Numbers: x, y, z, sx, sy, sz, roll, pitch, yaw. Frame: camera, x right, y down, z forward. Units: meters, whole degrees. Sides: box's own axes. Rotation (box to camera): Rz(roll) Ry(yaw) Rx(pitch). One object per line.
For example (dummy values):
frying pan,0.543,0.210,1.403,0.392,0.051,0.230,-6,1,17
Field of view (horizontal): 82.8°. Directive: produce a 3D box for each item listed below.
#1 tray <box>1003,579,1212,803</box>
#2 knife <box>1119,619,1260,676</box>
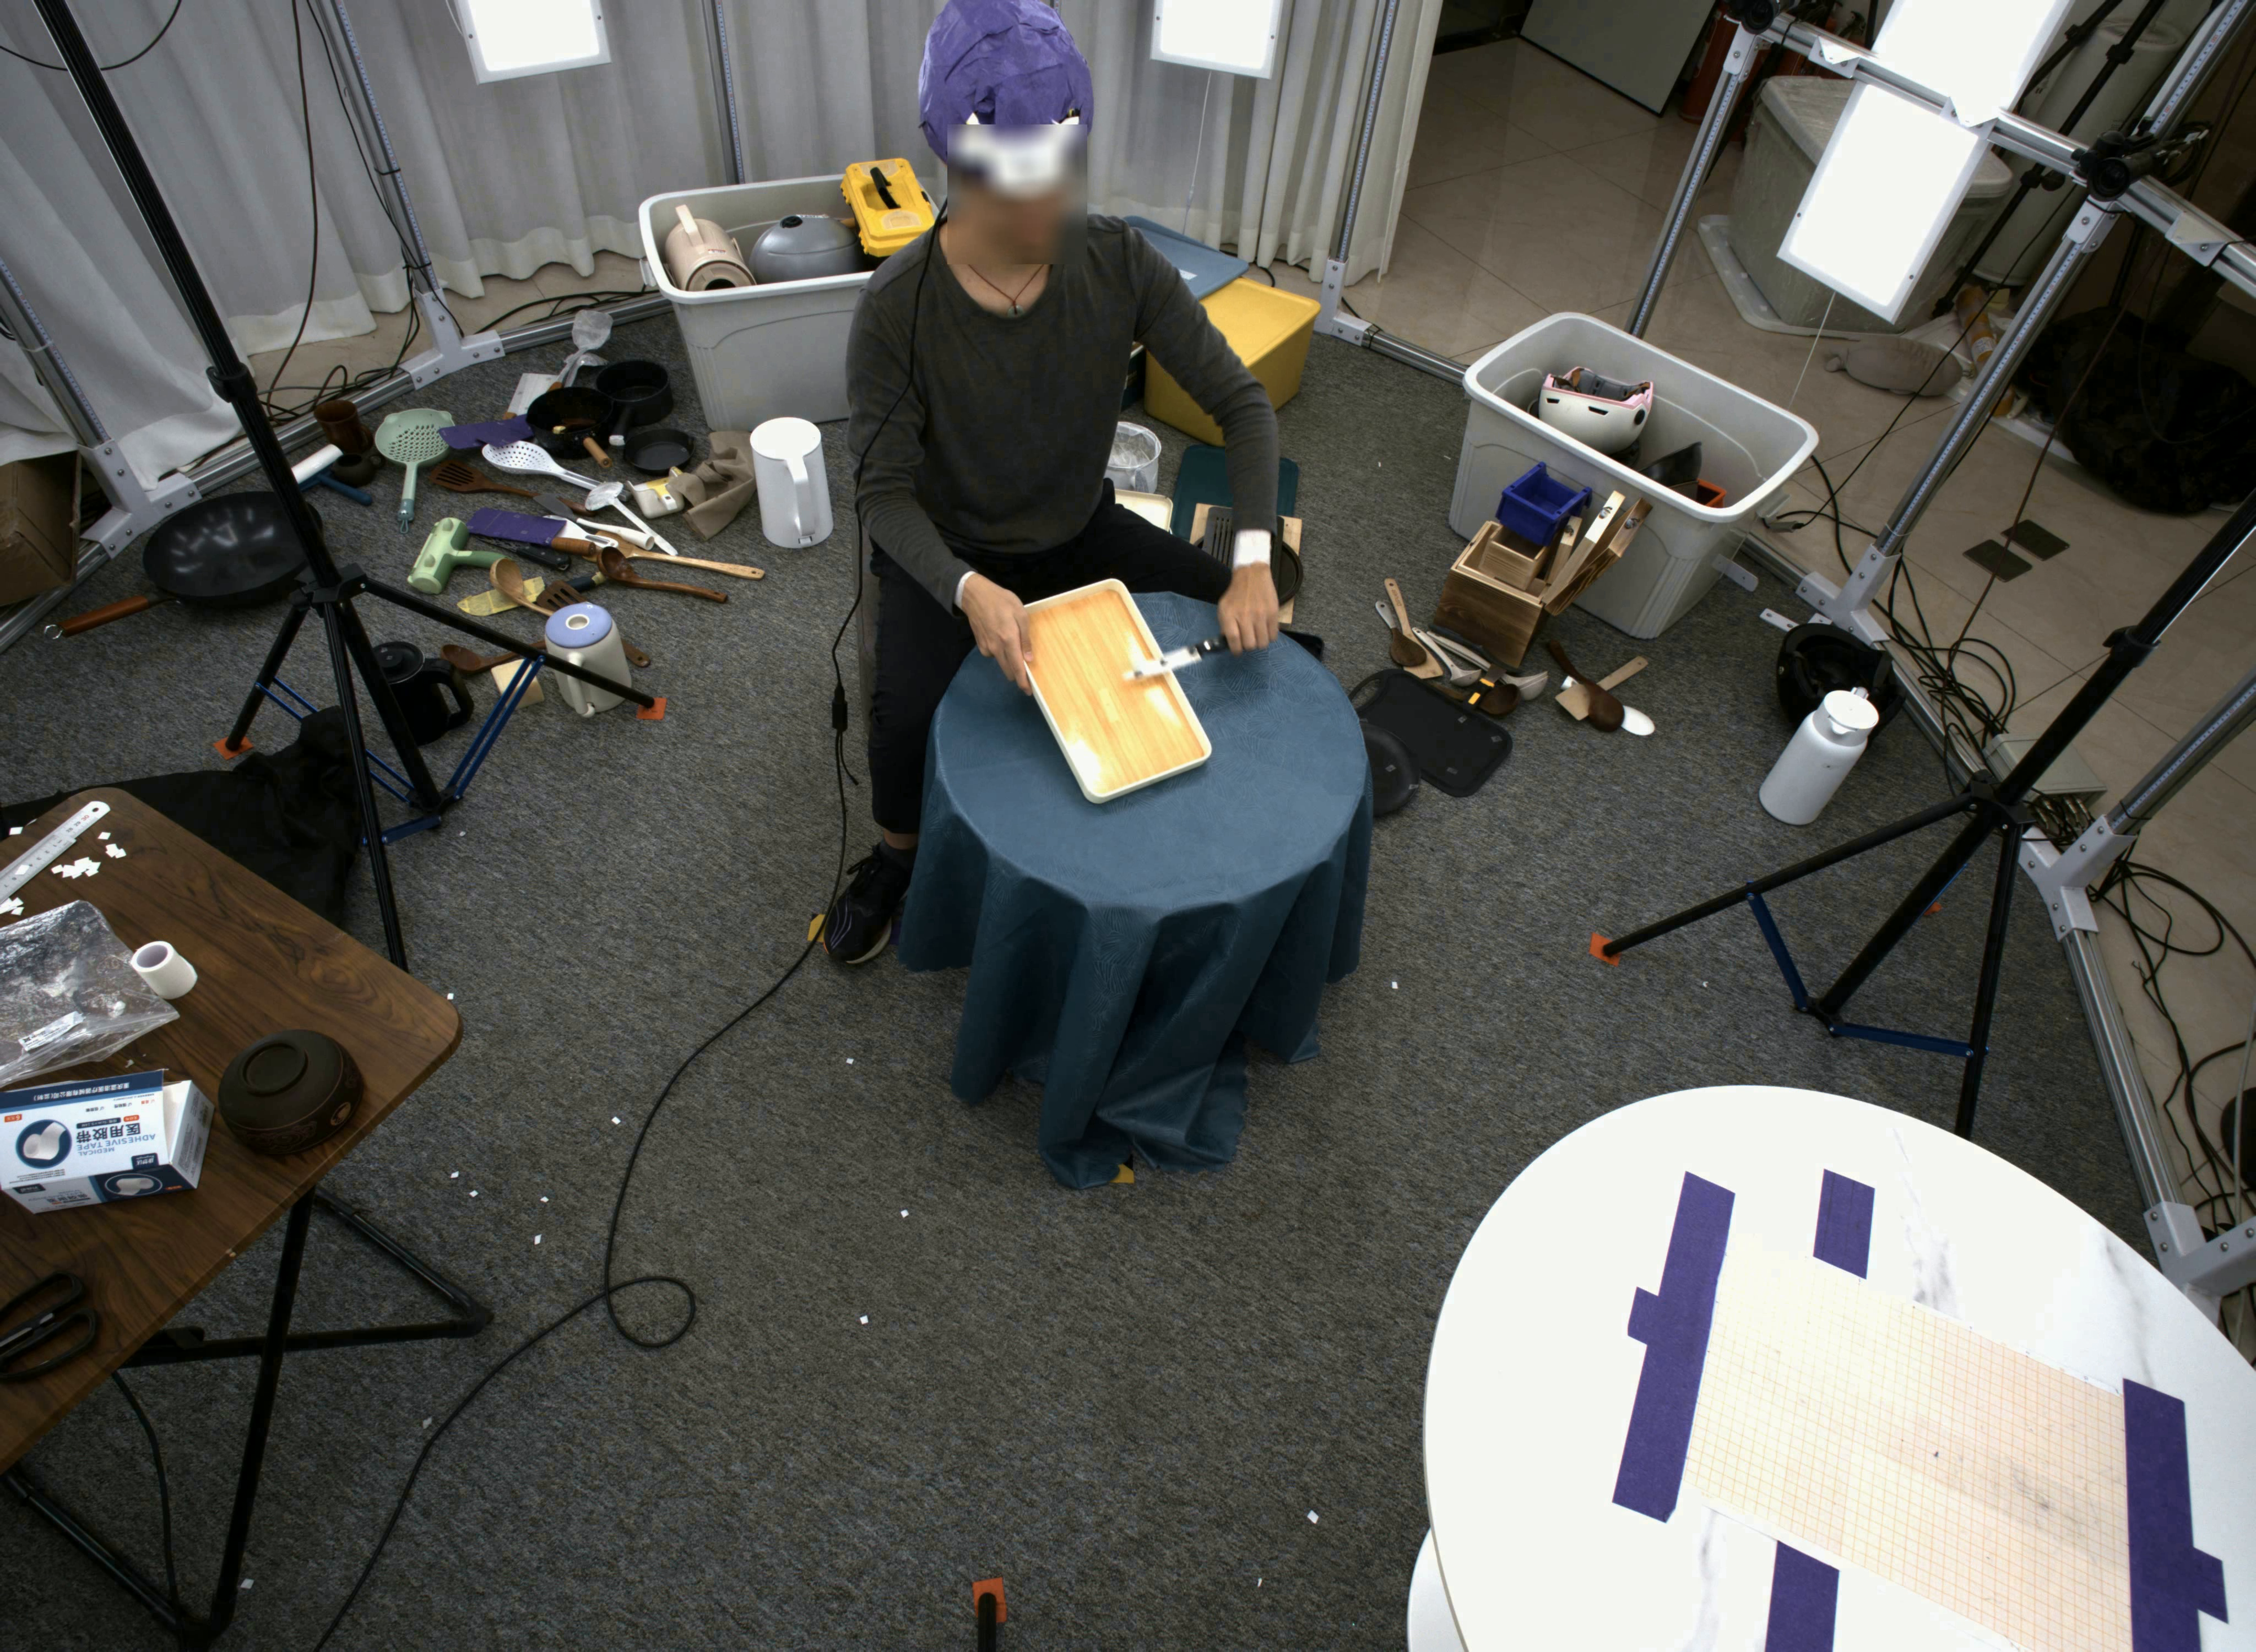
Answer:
tray,-0.030,-0.189,1.752,0.192,0.027,0.304,-20,72,-21
knife,0.086,-0.250,1.793,0.239,0.016,0.024,-23,80,-25
